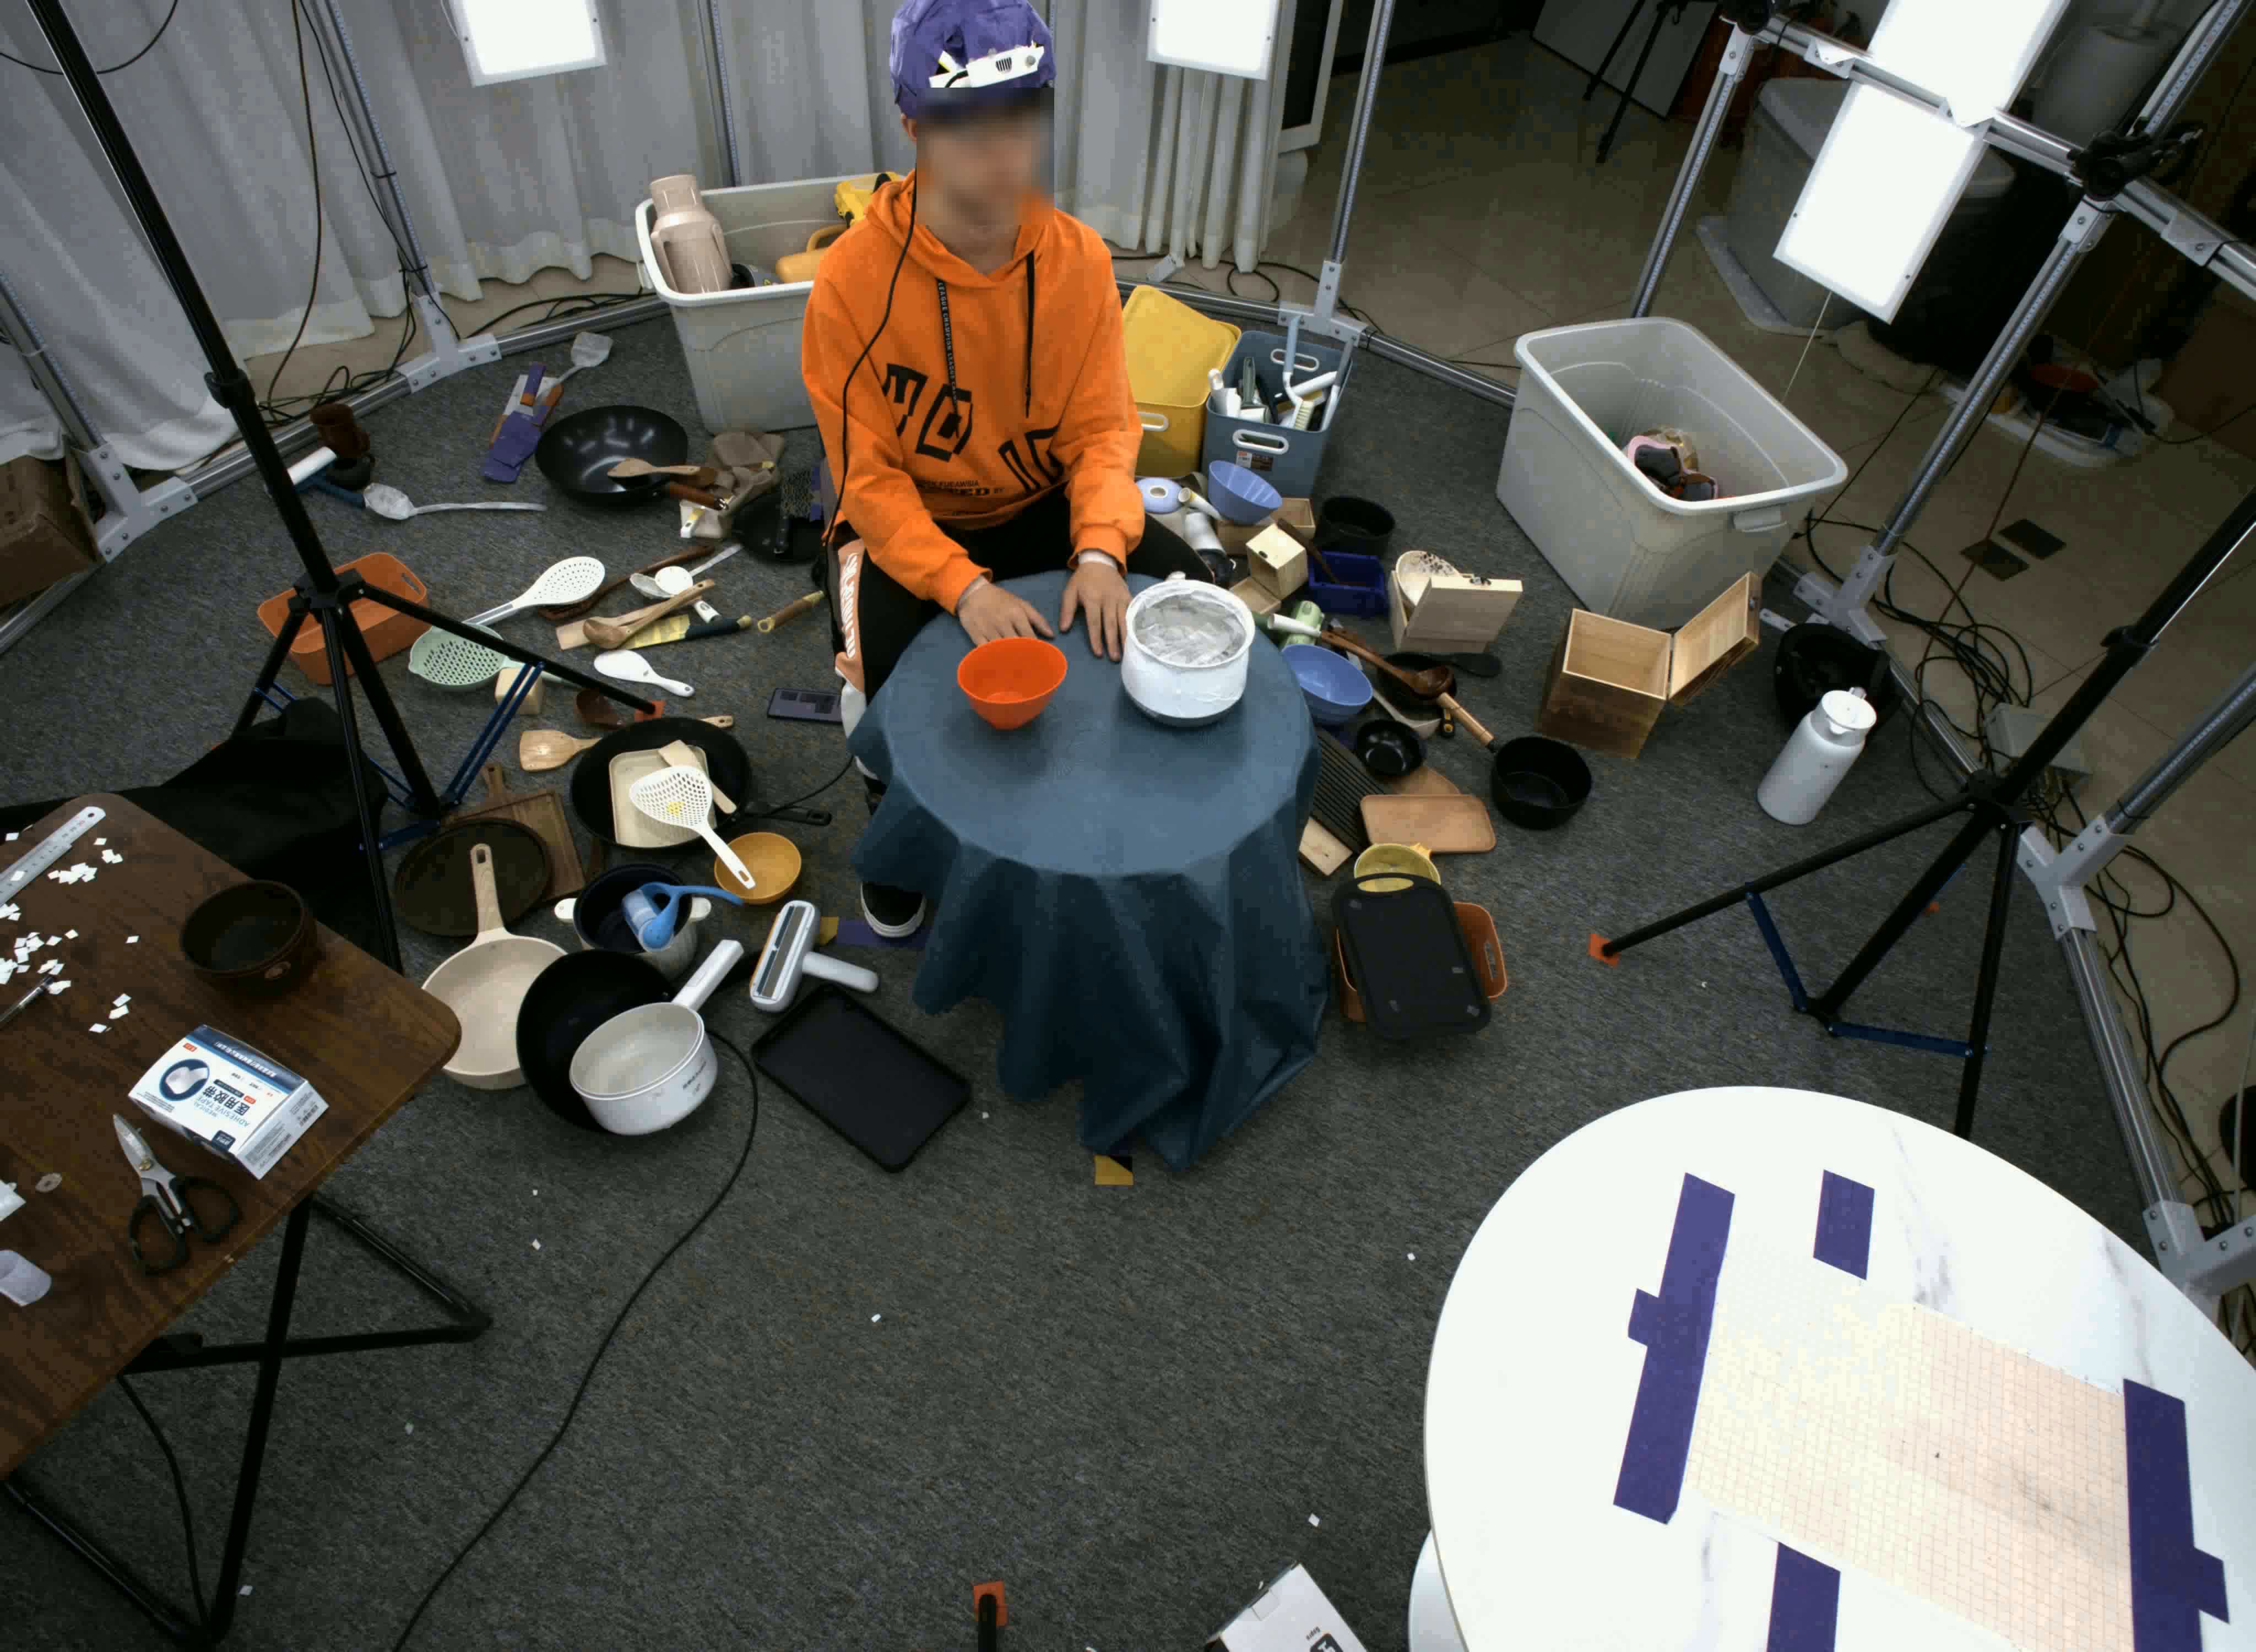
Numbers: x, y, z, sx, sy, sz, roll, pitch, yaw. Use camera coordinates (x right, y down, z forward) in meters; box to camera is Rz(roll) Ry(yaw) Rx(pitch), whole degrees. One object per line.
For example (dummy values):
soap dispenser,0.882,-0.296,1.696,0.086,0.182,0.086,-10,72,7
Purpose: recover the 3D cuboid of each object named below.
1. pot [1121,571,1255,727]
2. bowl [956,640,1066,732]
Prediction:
pot,0.076,-0.258,1.810,0.178,0.133,0.239,-5,50,-9
bowl,-0.159,-0.182,1.755,0.148,0.102,0.152,2,47,-2
